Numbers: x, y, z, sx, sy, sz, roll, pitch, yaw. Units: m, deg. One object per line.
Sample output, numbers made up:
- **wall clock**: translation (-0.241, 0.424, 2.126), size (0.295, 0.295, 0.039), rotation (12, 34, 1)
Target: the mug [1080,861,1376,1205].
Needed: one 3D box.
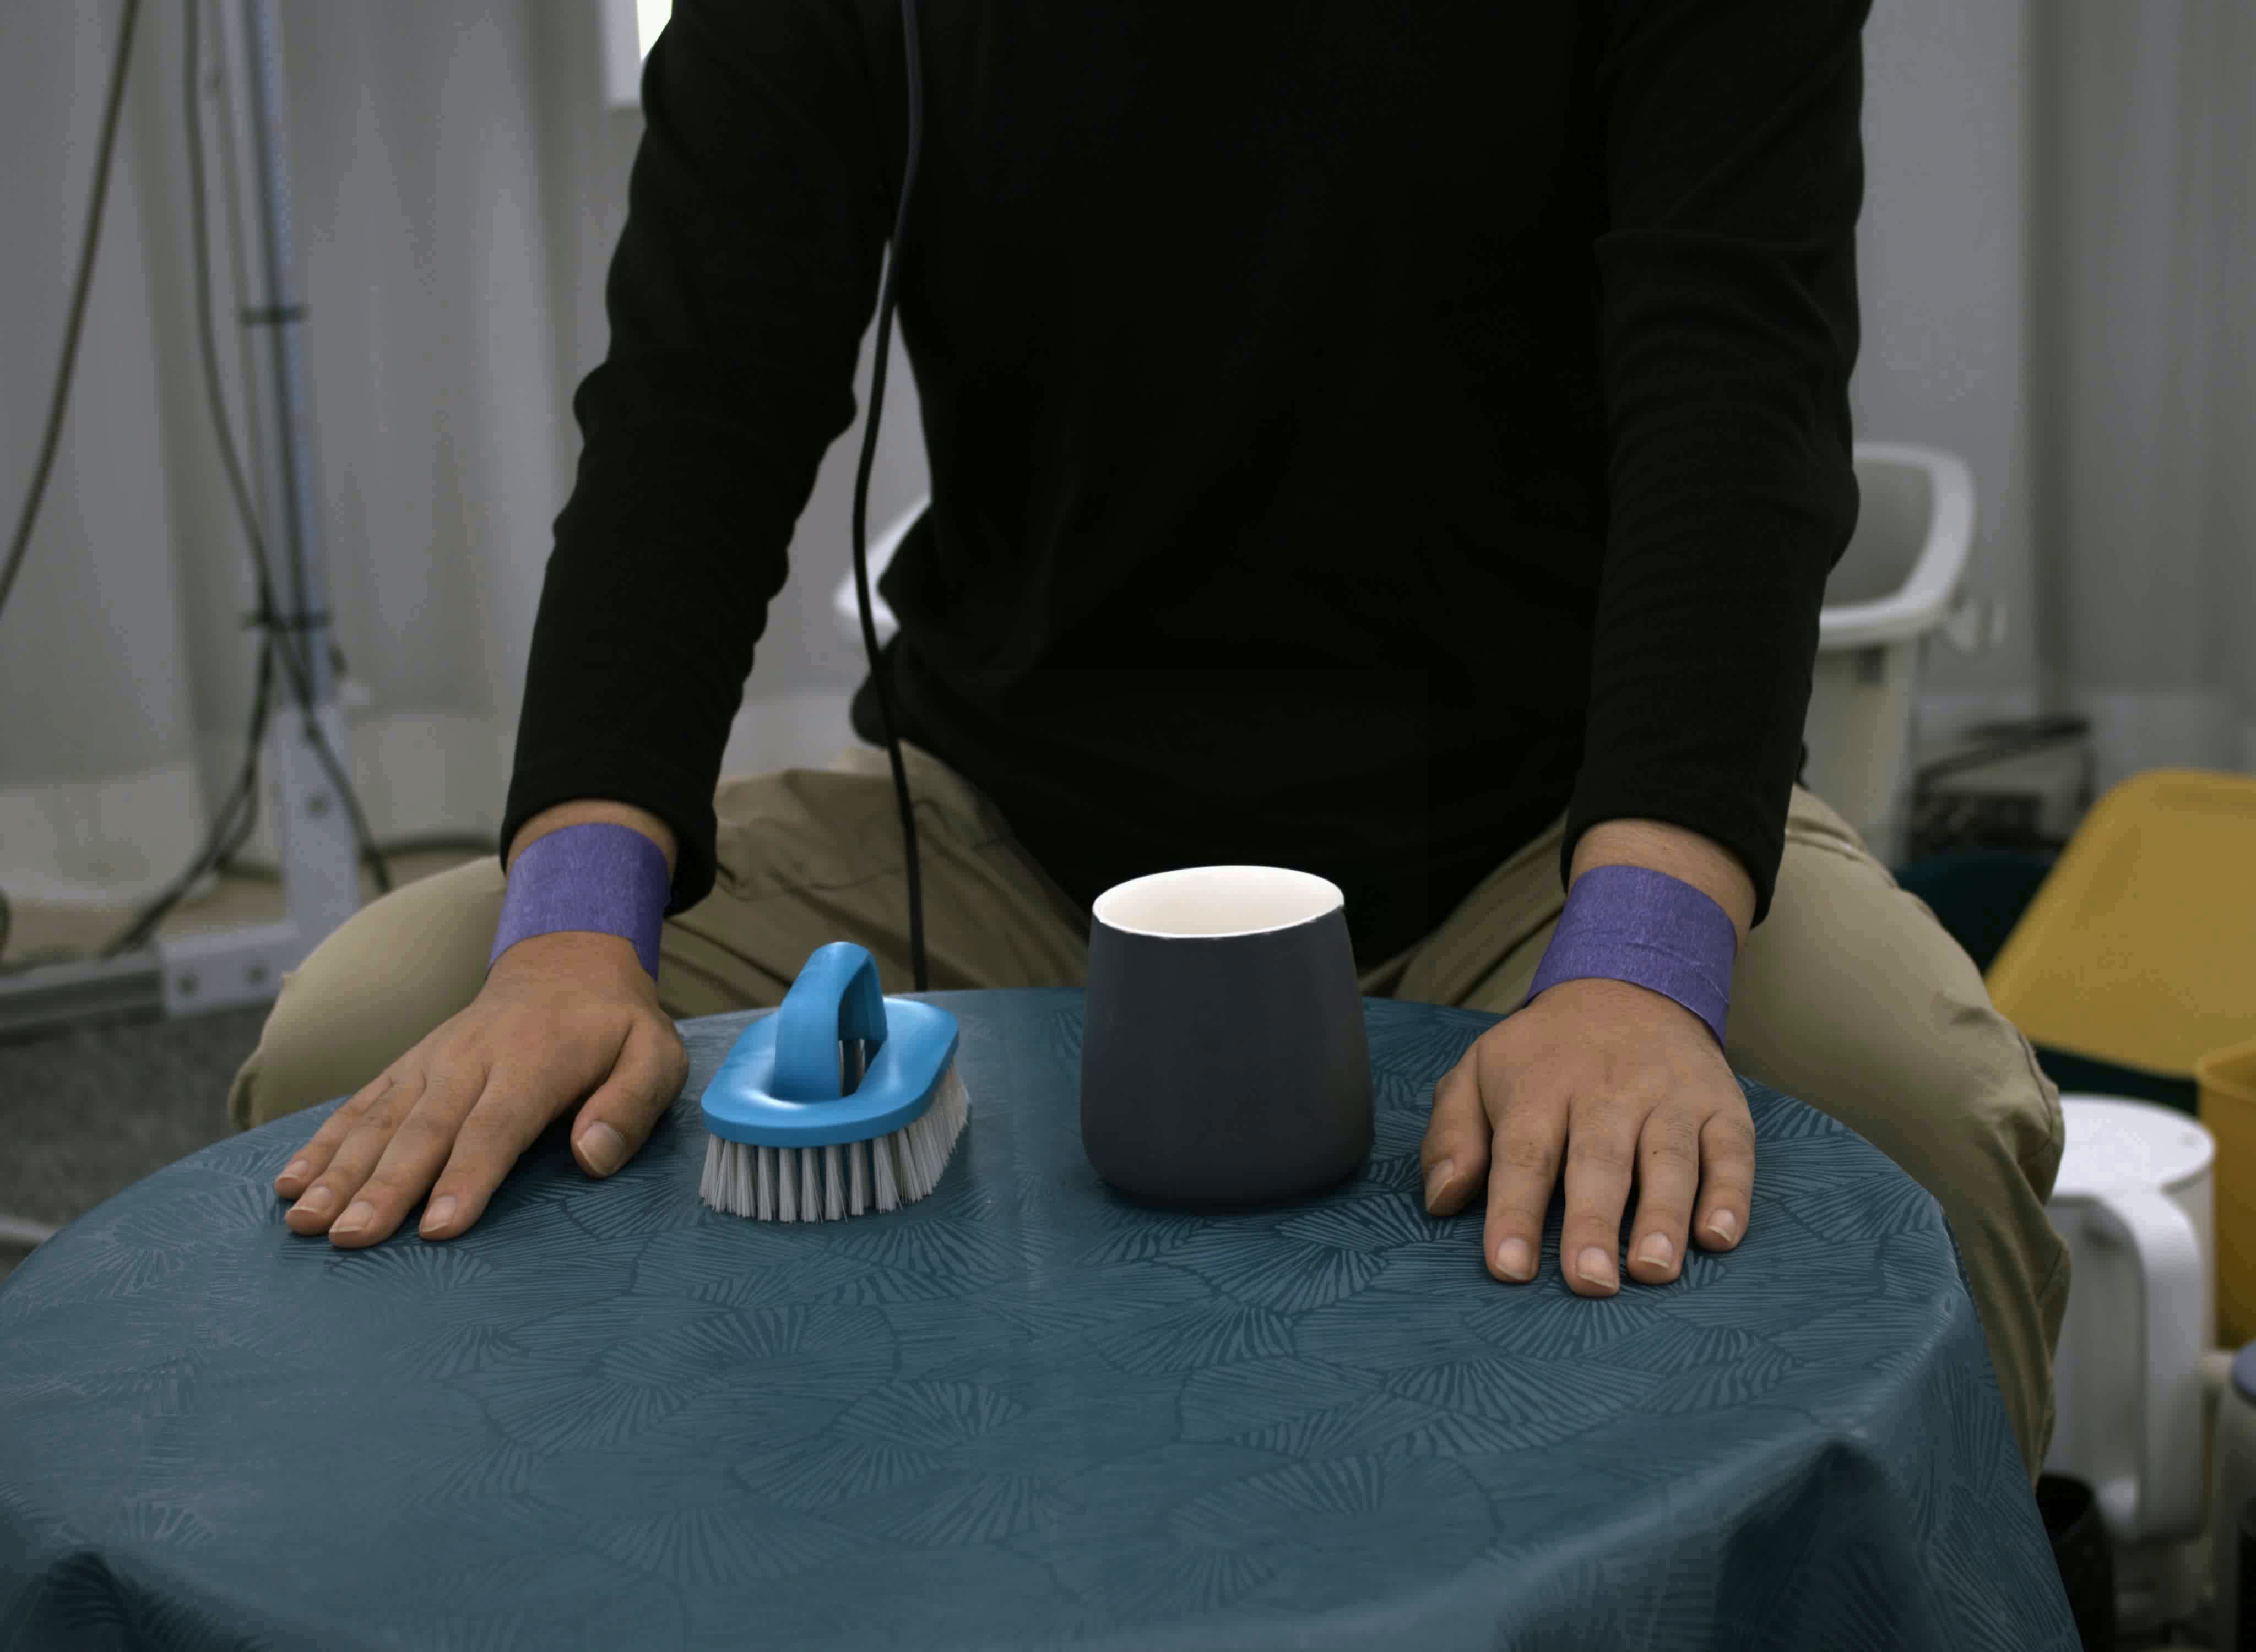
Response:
- **mug**: translation (0.034, 0.061, 1.731), size (0.093, 0.089, 0.124), rotation (1, 16, 15)

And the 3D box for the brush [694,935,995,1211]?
- **brush**: translation (-0.093, 0.074, 1.761), size (0.084, 0.063, 0.142), rotation (-5, 13, 10)
